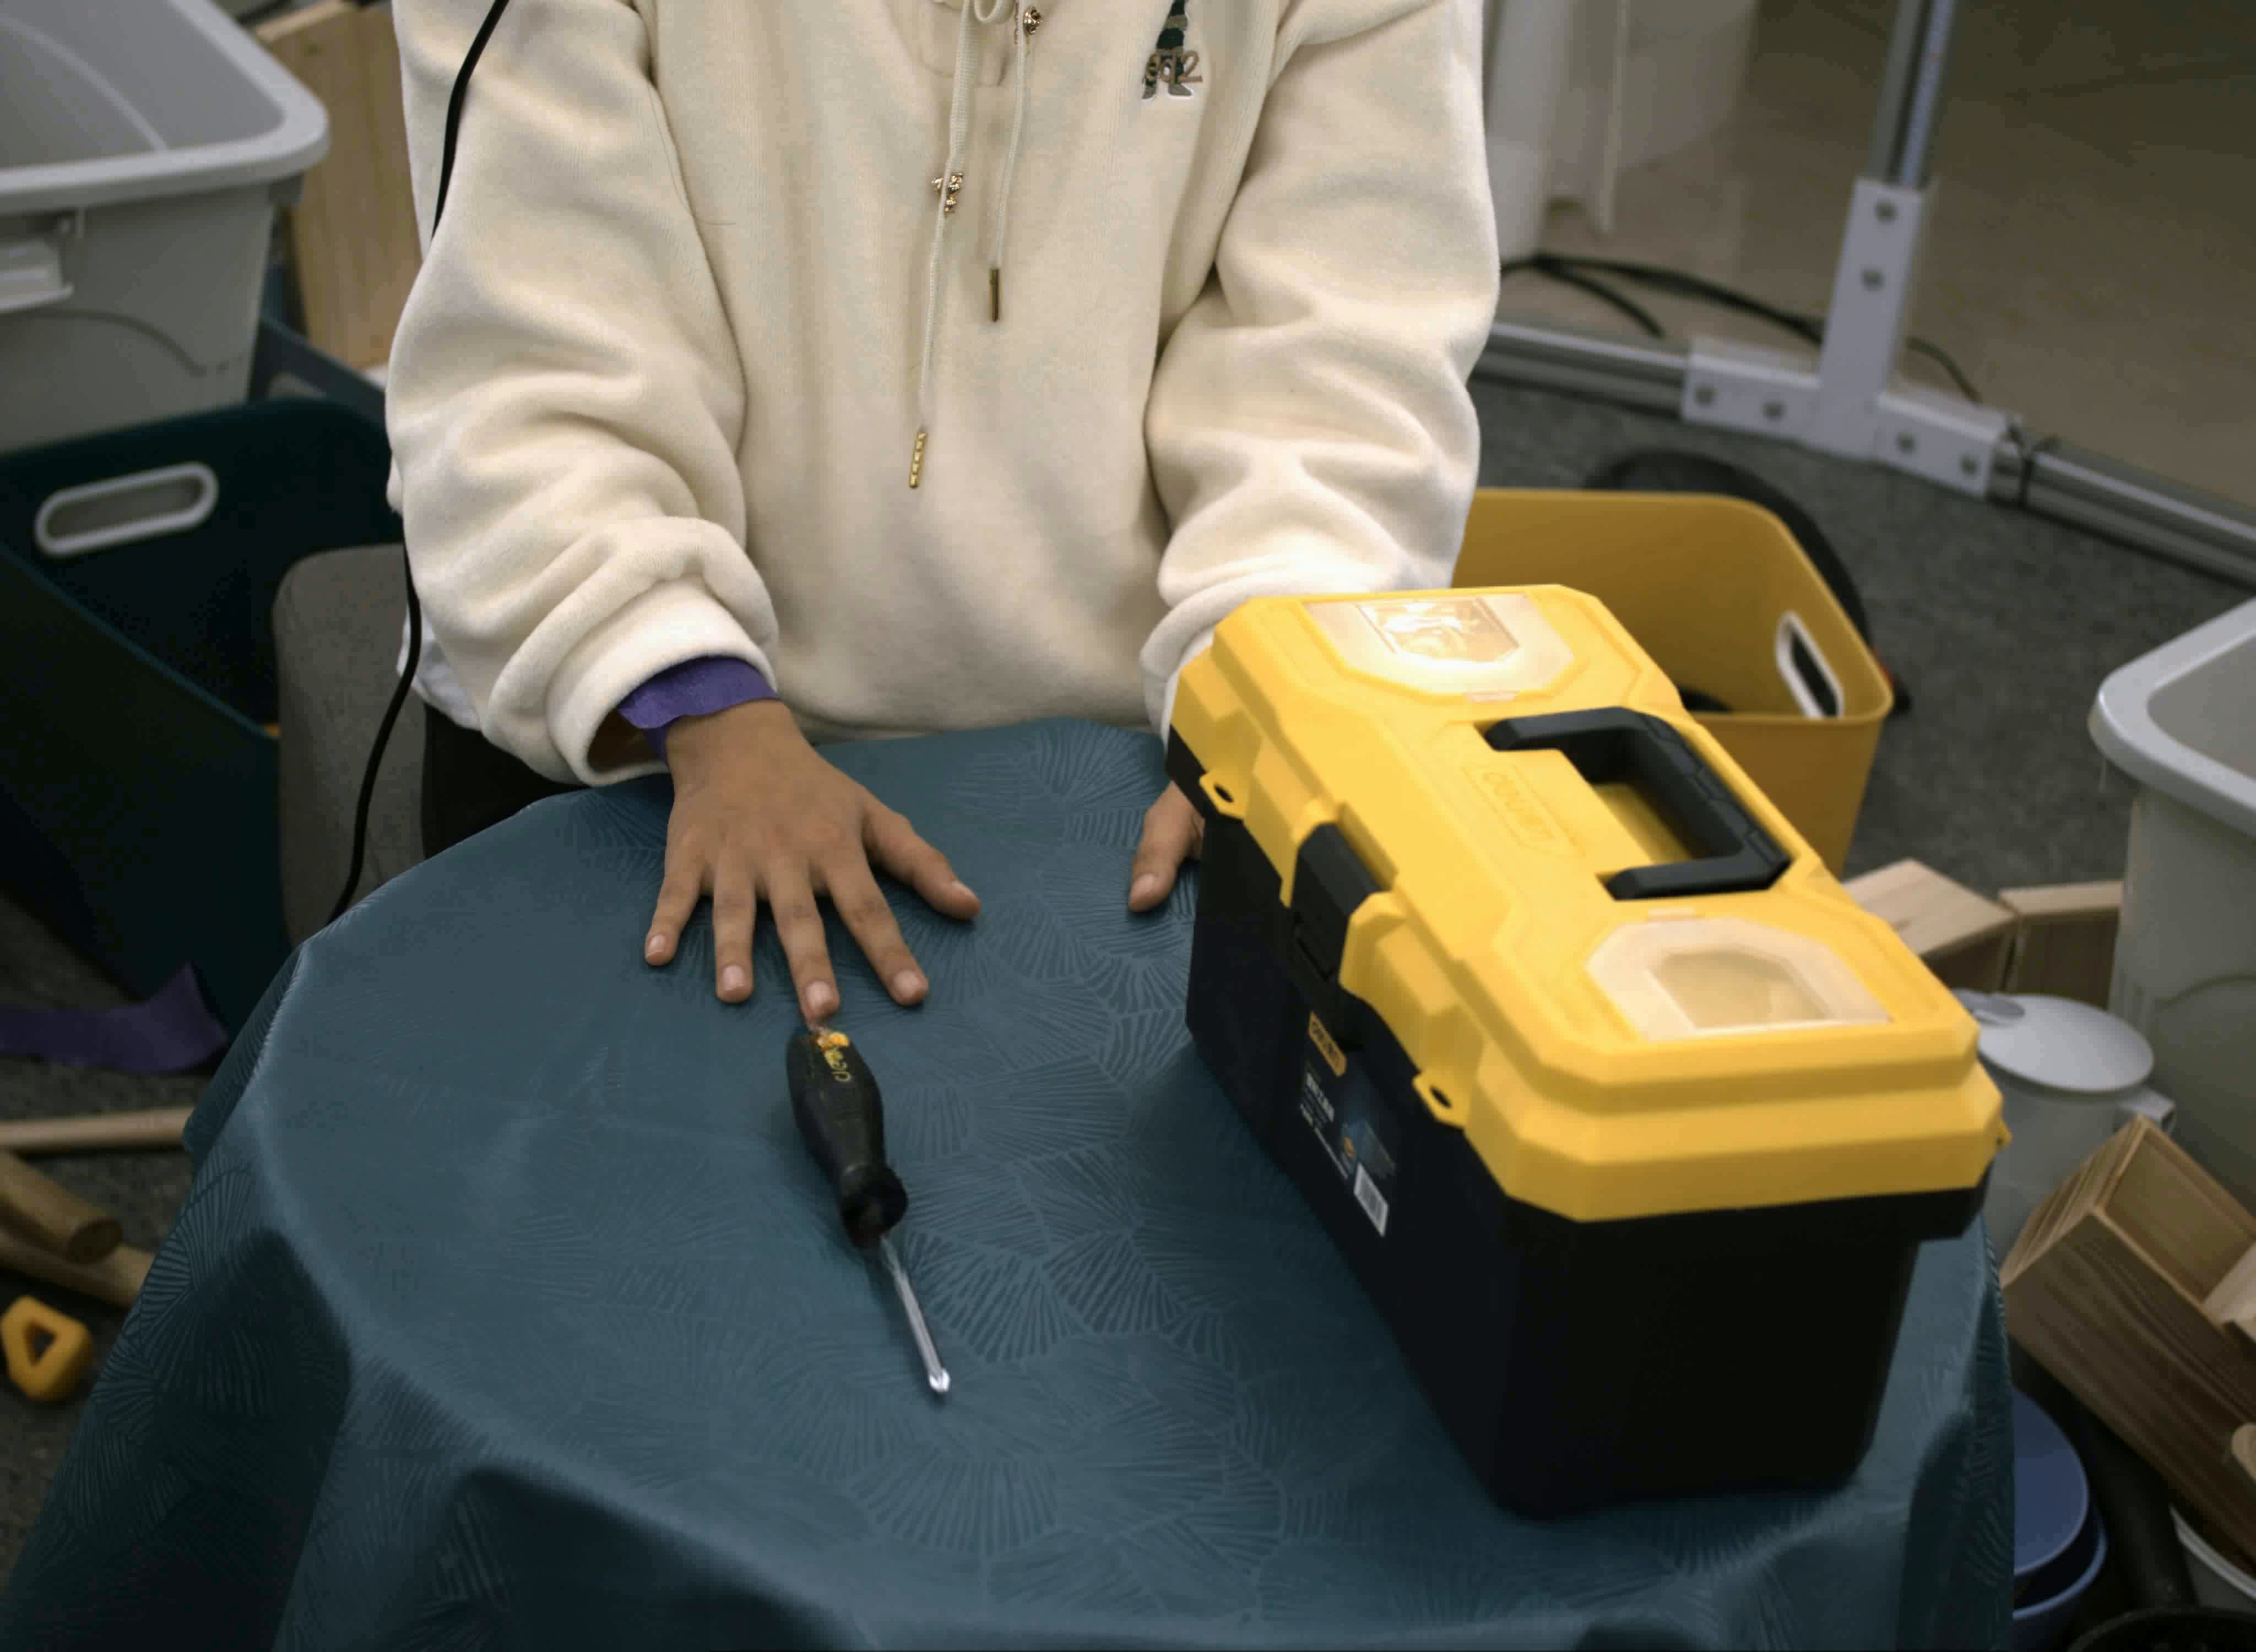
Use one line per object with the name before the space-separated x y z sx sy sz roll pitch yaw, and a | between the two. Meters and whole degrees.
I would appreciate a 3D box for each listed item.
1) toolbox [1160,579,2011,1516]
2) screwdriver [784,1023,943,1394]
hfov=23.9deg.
toolbox | 0.137 0.065 1.756 0.180 0.172 0.354 -3 28 -18
screwdriver | -0.085 0.123 1.748 0.031 0.031 0.198 -1 29 -15
